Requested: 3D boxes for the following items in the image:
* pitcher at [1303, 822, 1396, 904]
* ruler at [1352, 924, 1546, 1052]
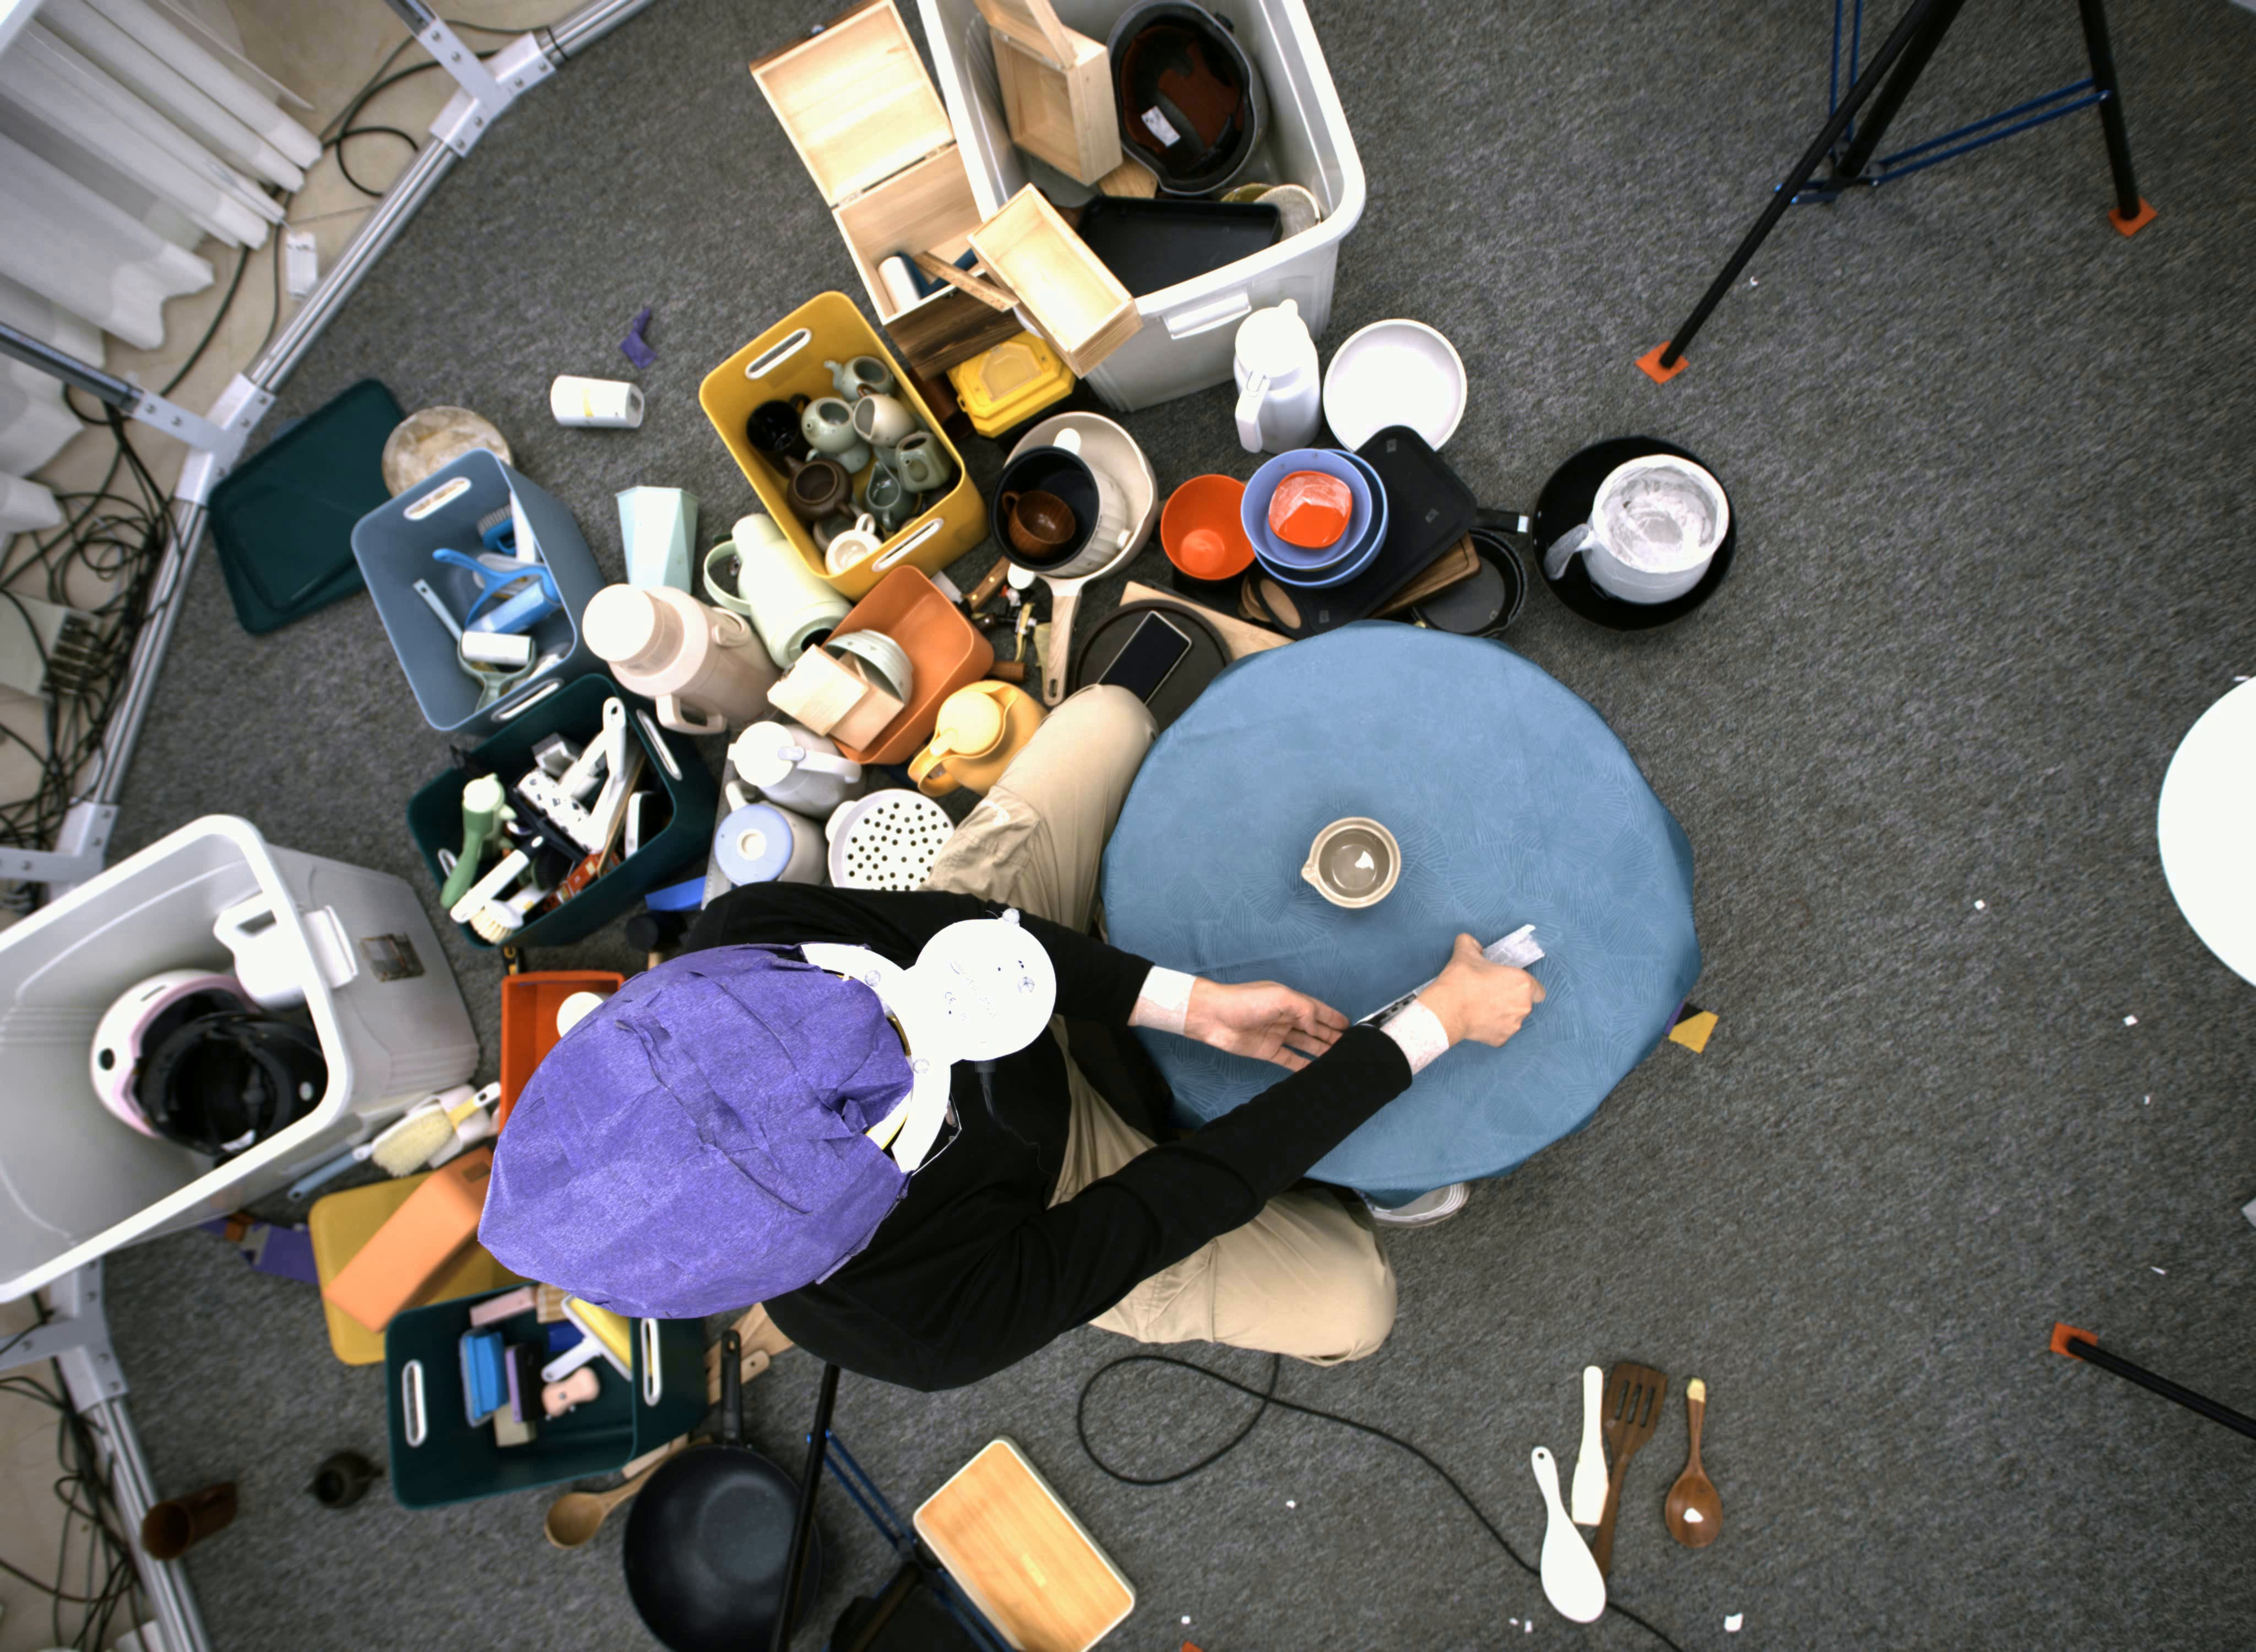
[{"bbox_3d":[0.229,0.040,1.432,0.096,0.071,0.083,-13,84,8],"label":"pitcher"},{"bbox_3d":[0.328,0.170,1.426,0.220,0.024,0.038,-32,89,12],"label":"ruler"}]
